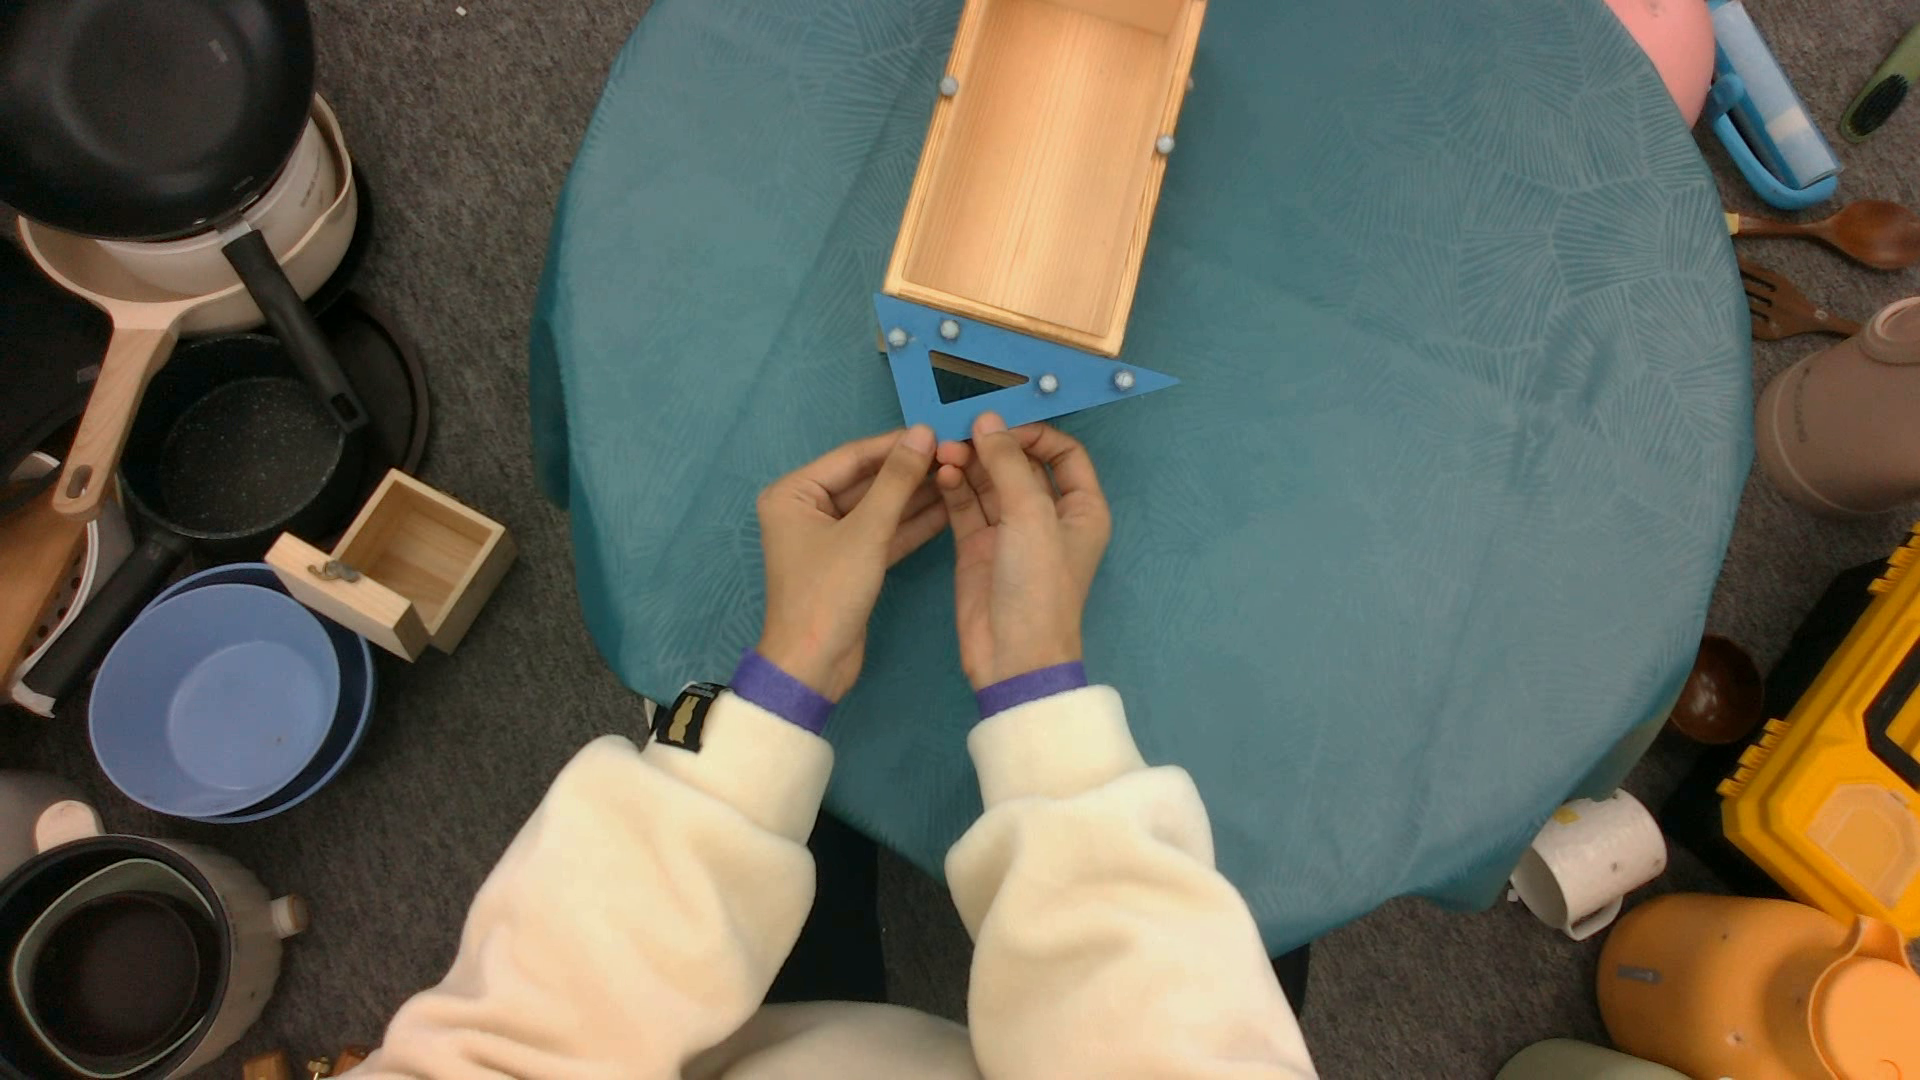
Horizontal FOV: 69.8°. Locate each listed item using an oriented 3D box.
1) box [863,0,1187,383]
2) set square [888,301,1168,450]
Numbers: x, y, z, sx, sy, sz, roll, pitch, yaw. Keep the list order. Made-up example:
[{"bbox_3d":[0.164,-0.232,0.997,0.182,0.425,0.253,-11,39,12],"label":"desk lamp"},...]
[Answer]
[{"bbox_3d":[0.033,-0.187,0.649,0.107,0.080,0.212,15,76,-2],"label":"box"},{"bbox_3d":[0.022,-0.055,0.592,0.132,0.006,0.061,20,88,-4],"label":"set square"}]
